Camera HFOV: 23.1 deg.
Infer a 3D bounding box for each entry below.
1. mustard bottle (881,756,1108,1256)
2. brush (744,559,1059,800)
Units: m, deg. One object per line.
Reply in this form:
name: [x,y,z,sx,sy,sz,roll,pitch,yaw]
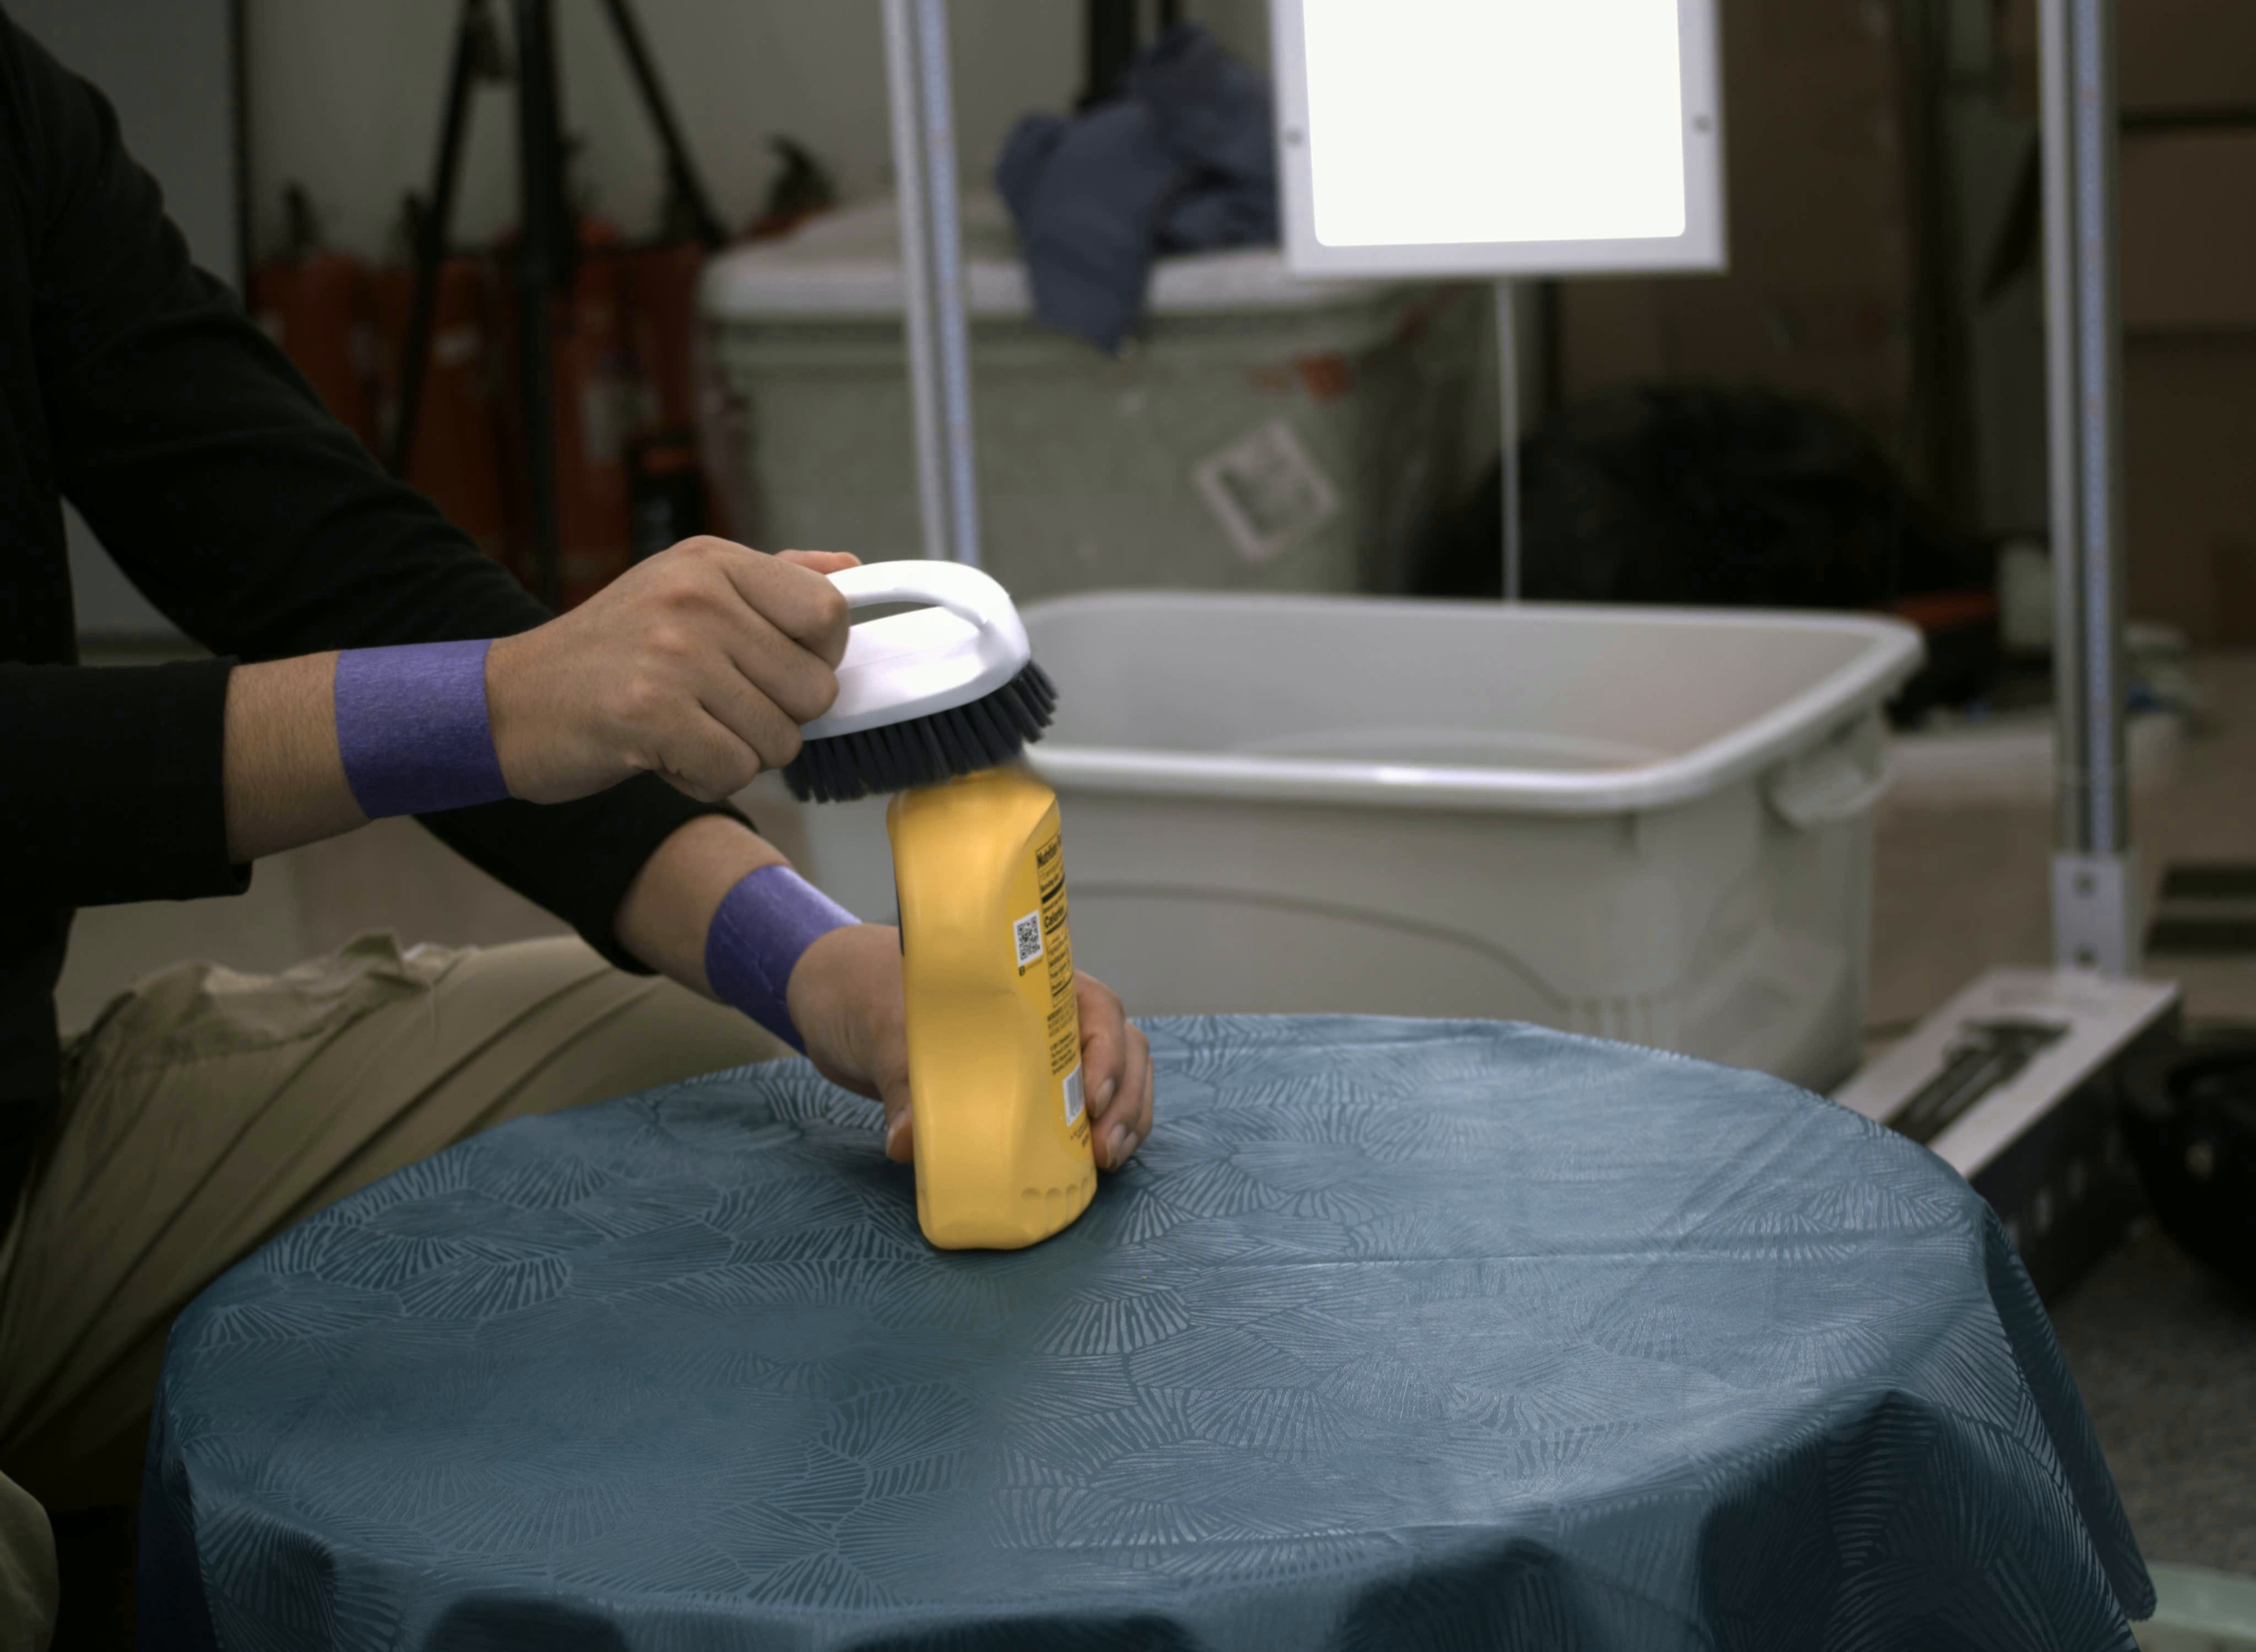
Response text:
mustard bottle: [-0.046,0.052,1.862,0.060,0.172,0.097,-5,14,12]
brush: [-0.080,-0.055,1.817,0.100,0.072,0.050,-11,39,20]
